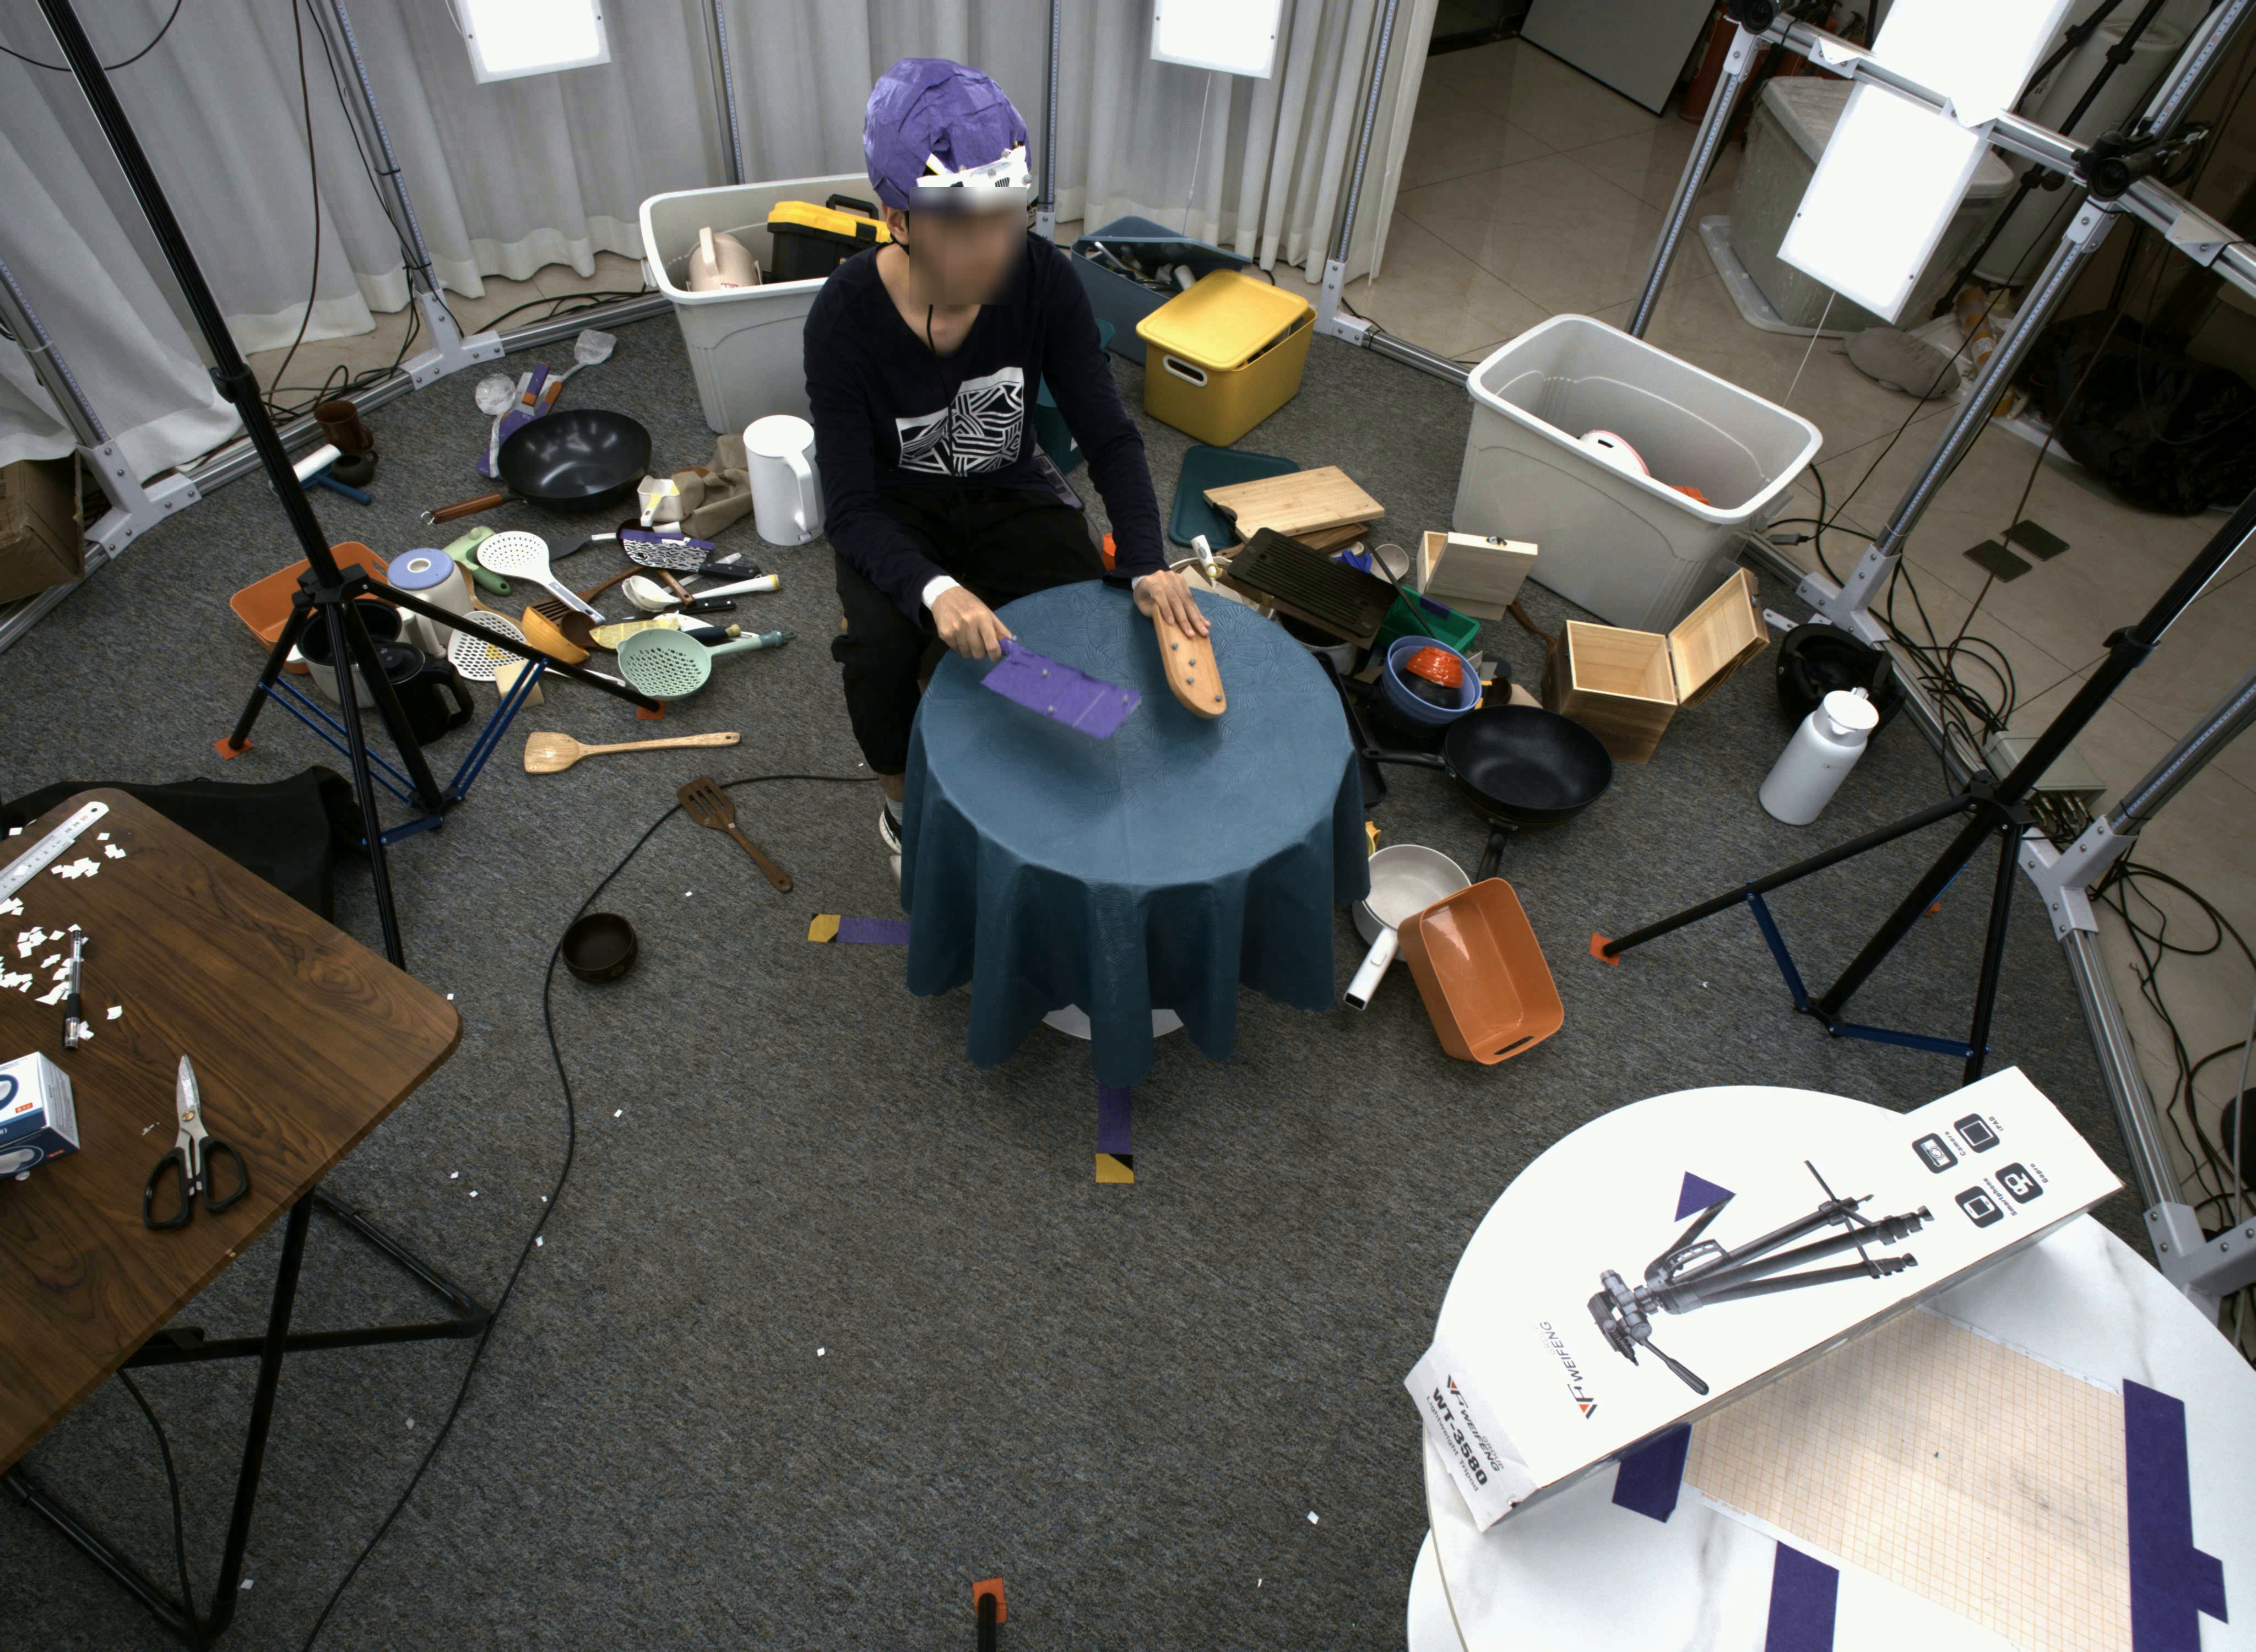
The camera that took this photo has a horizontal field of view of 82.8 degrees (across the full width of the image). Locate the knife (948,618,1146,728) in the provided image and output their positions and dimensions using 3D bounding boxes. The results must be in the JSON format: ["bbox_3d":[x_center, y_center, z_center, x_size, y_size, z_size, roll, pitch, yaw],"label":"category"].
[{"bbox_3d":[-0.131,-0.207,1.725,0.318,0.031,0.105,22,52,27],"label":"knife"}]

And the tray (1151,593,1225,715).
[{"bbox_3d":[0.083,-0.244,1.811,0.100,0.020,0.237,25,37,-33],"label":"tray"}]
